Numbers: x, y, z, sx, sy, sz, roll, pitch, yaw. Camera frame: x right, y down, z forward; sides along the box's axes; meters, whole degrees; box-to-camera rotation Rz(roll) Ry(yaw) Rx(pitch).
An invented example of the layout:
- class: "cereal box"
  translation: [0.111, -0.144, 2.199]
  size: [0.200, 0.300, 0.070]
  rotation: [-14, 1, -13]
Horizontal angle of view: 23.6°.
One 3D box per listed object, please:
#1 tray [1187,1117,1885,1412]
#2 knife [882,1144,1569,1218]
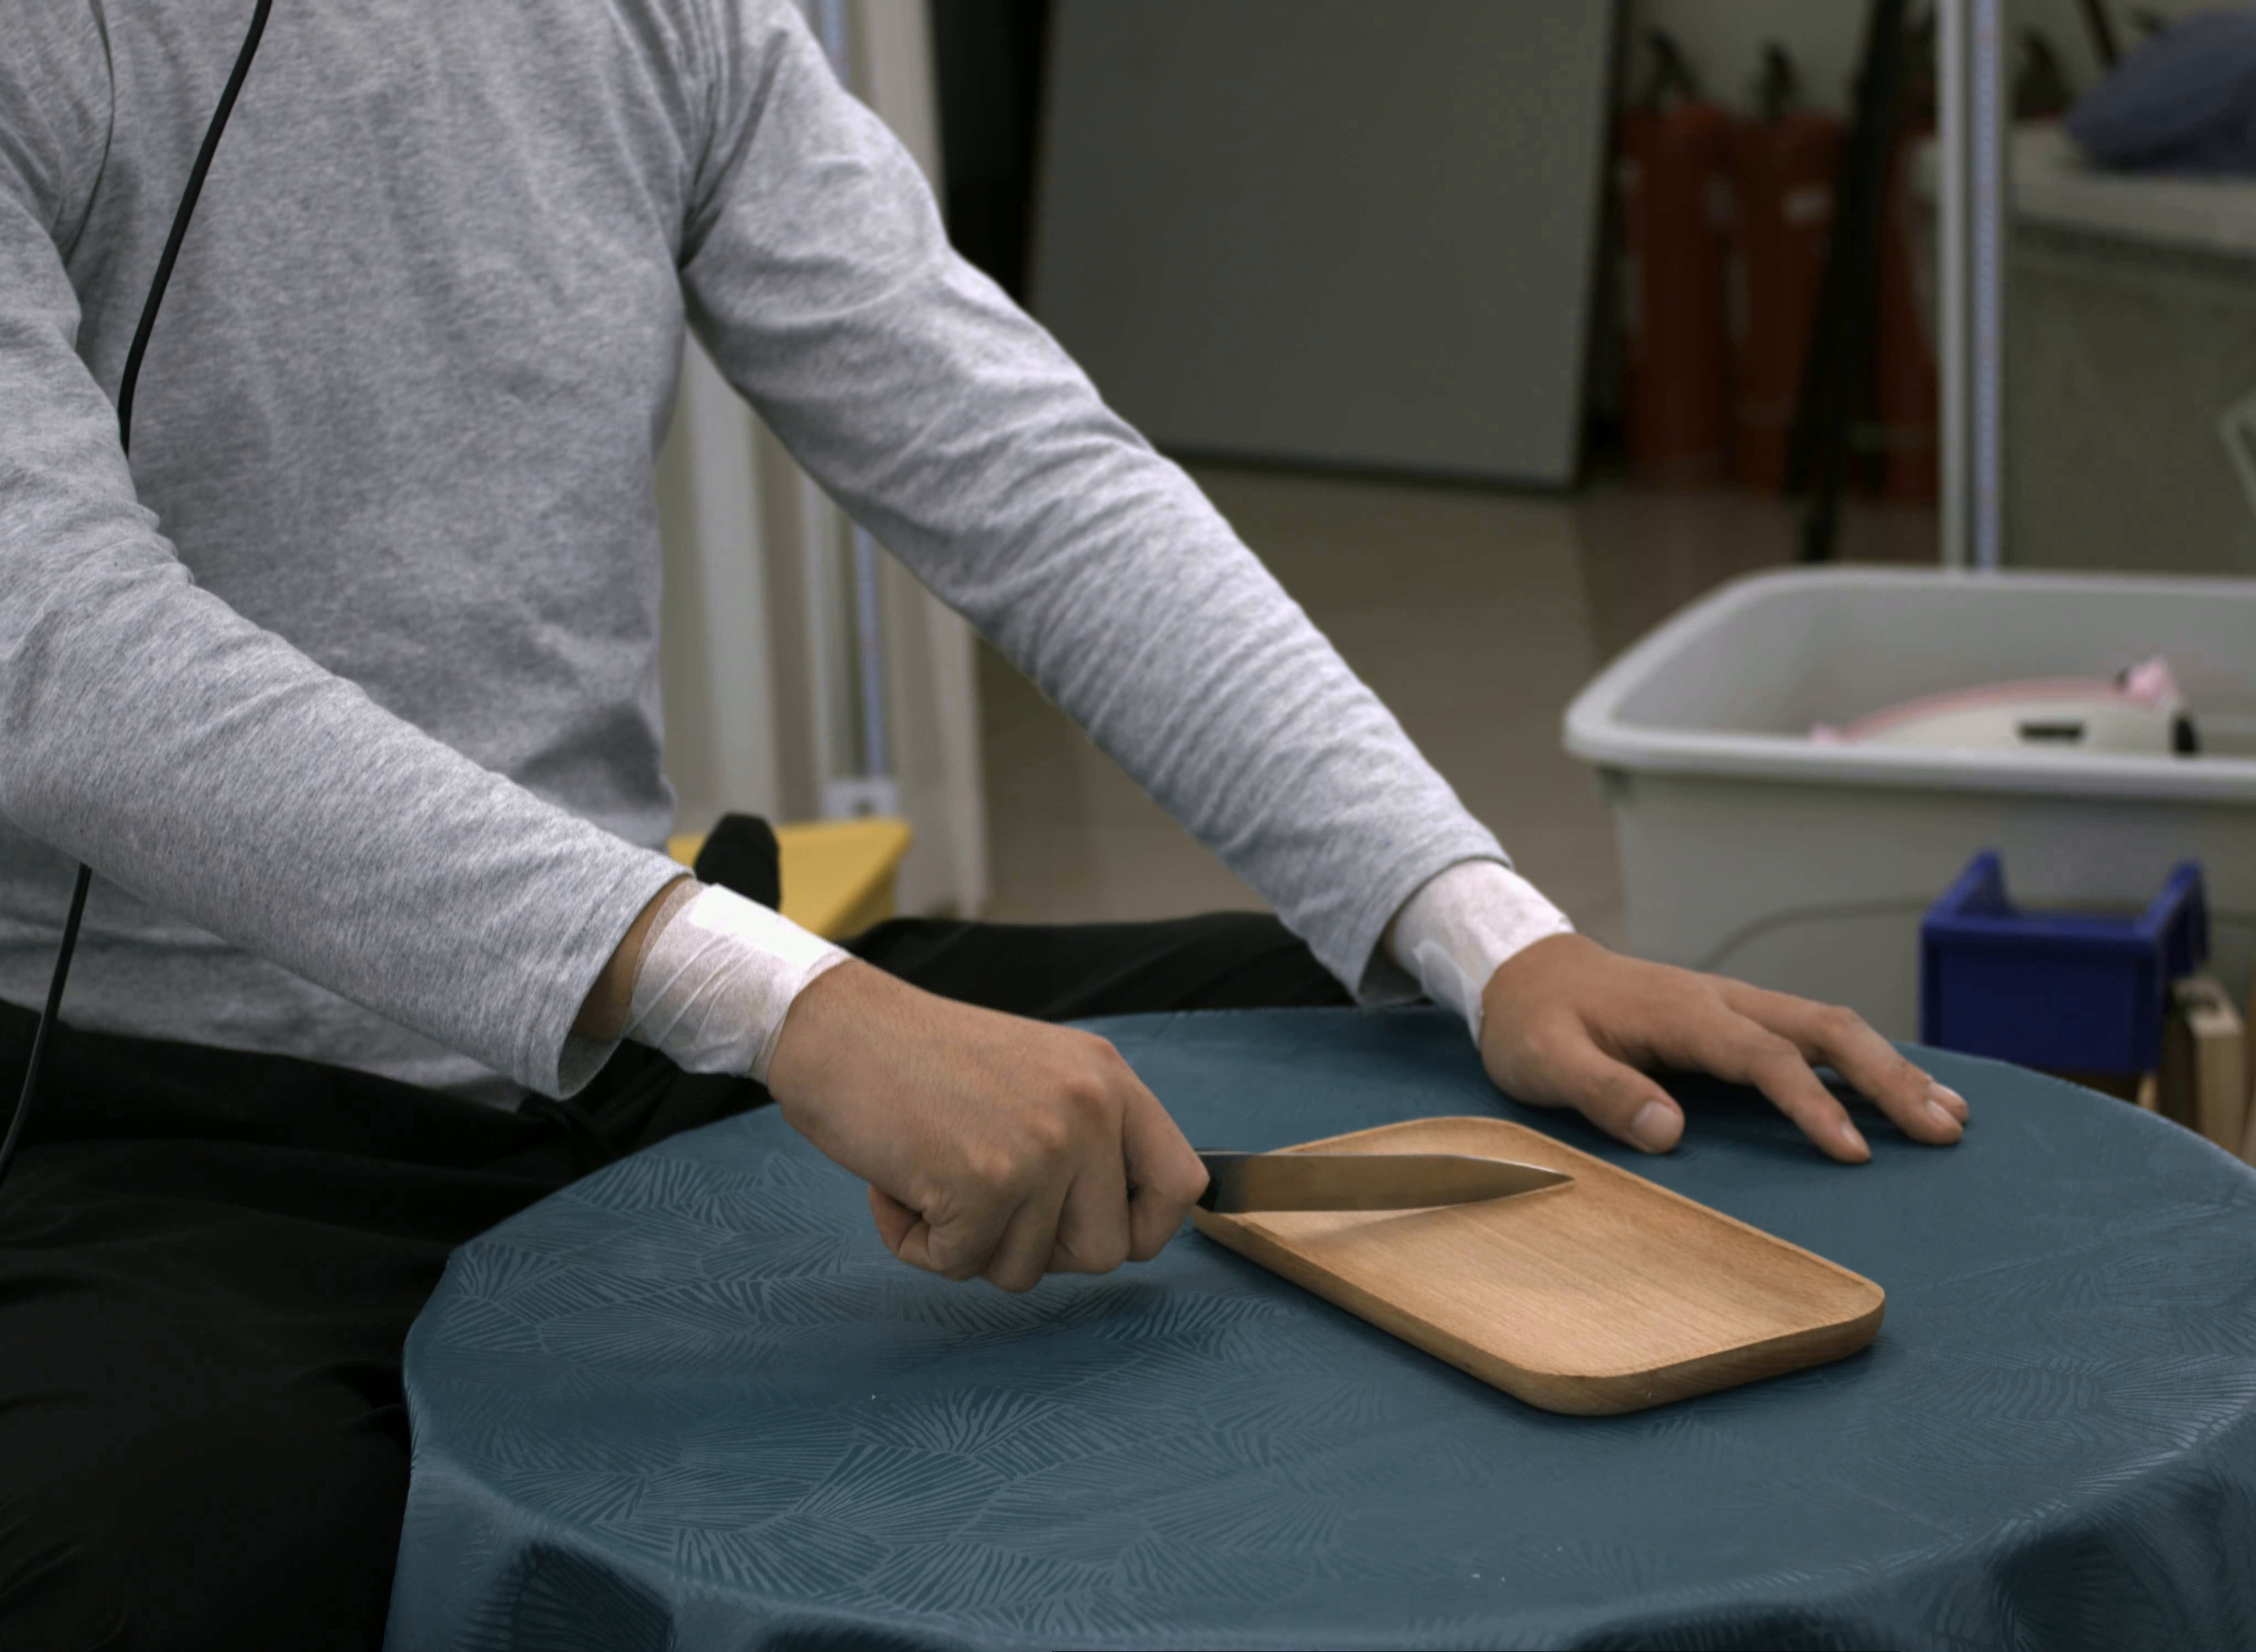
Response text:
- class: "tray"
  translation: [0.121, 0.132, 1.658]
  size: [0.127, 0.023, 0.253]
  rotation: [-7, 13, -25]
- class: "knife"
  translation: [0.036, 0.111, 1.679]
  size: [0.233, 0.025, 0.016]
  rotation: [2, 25, -22]
